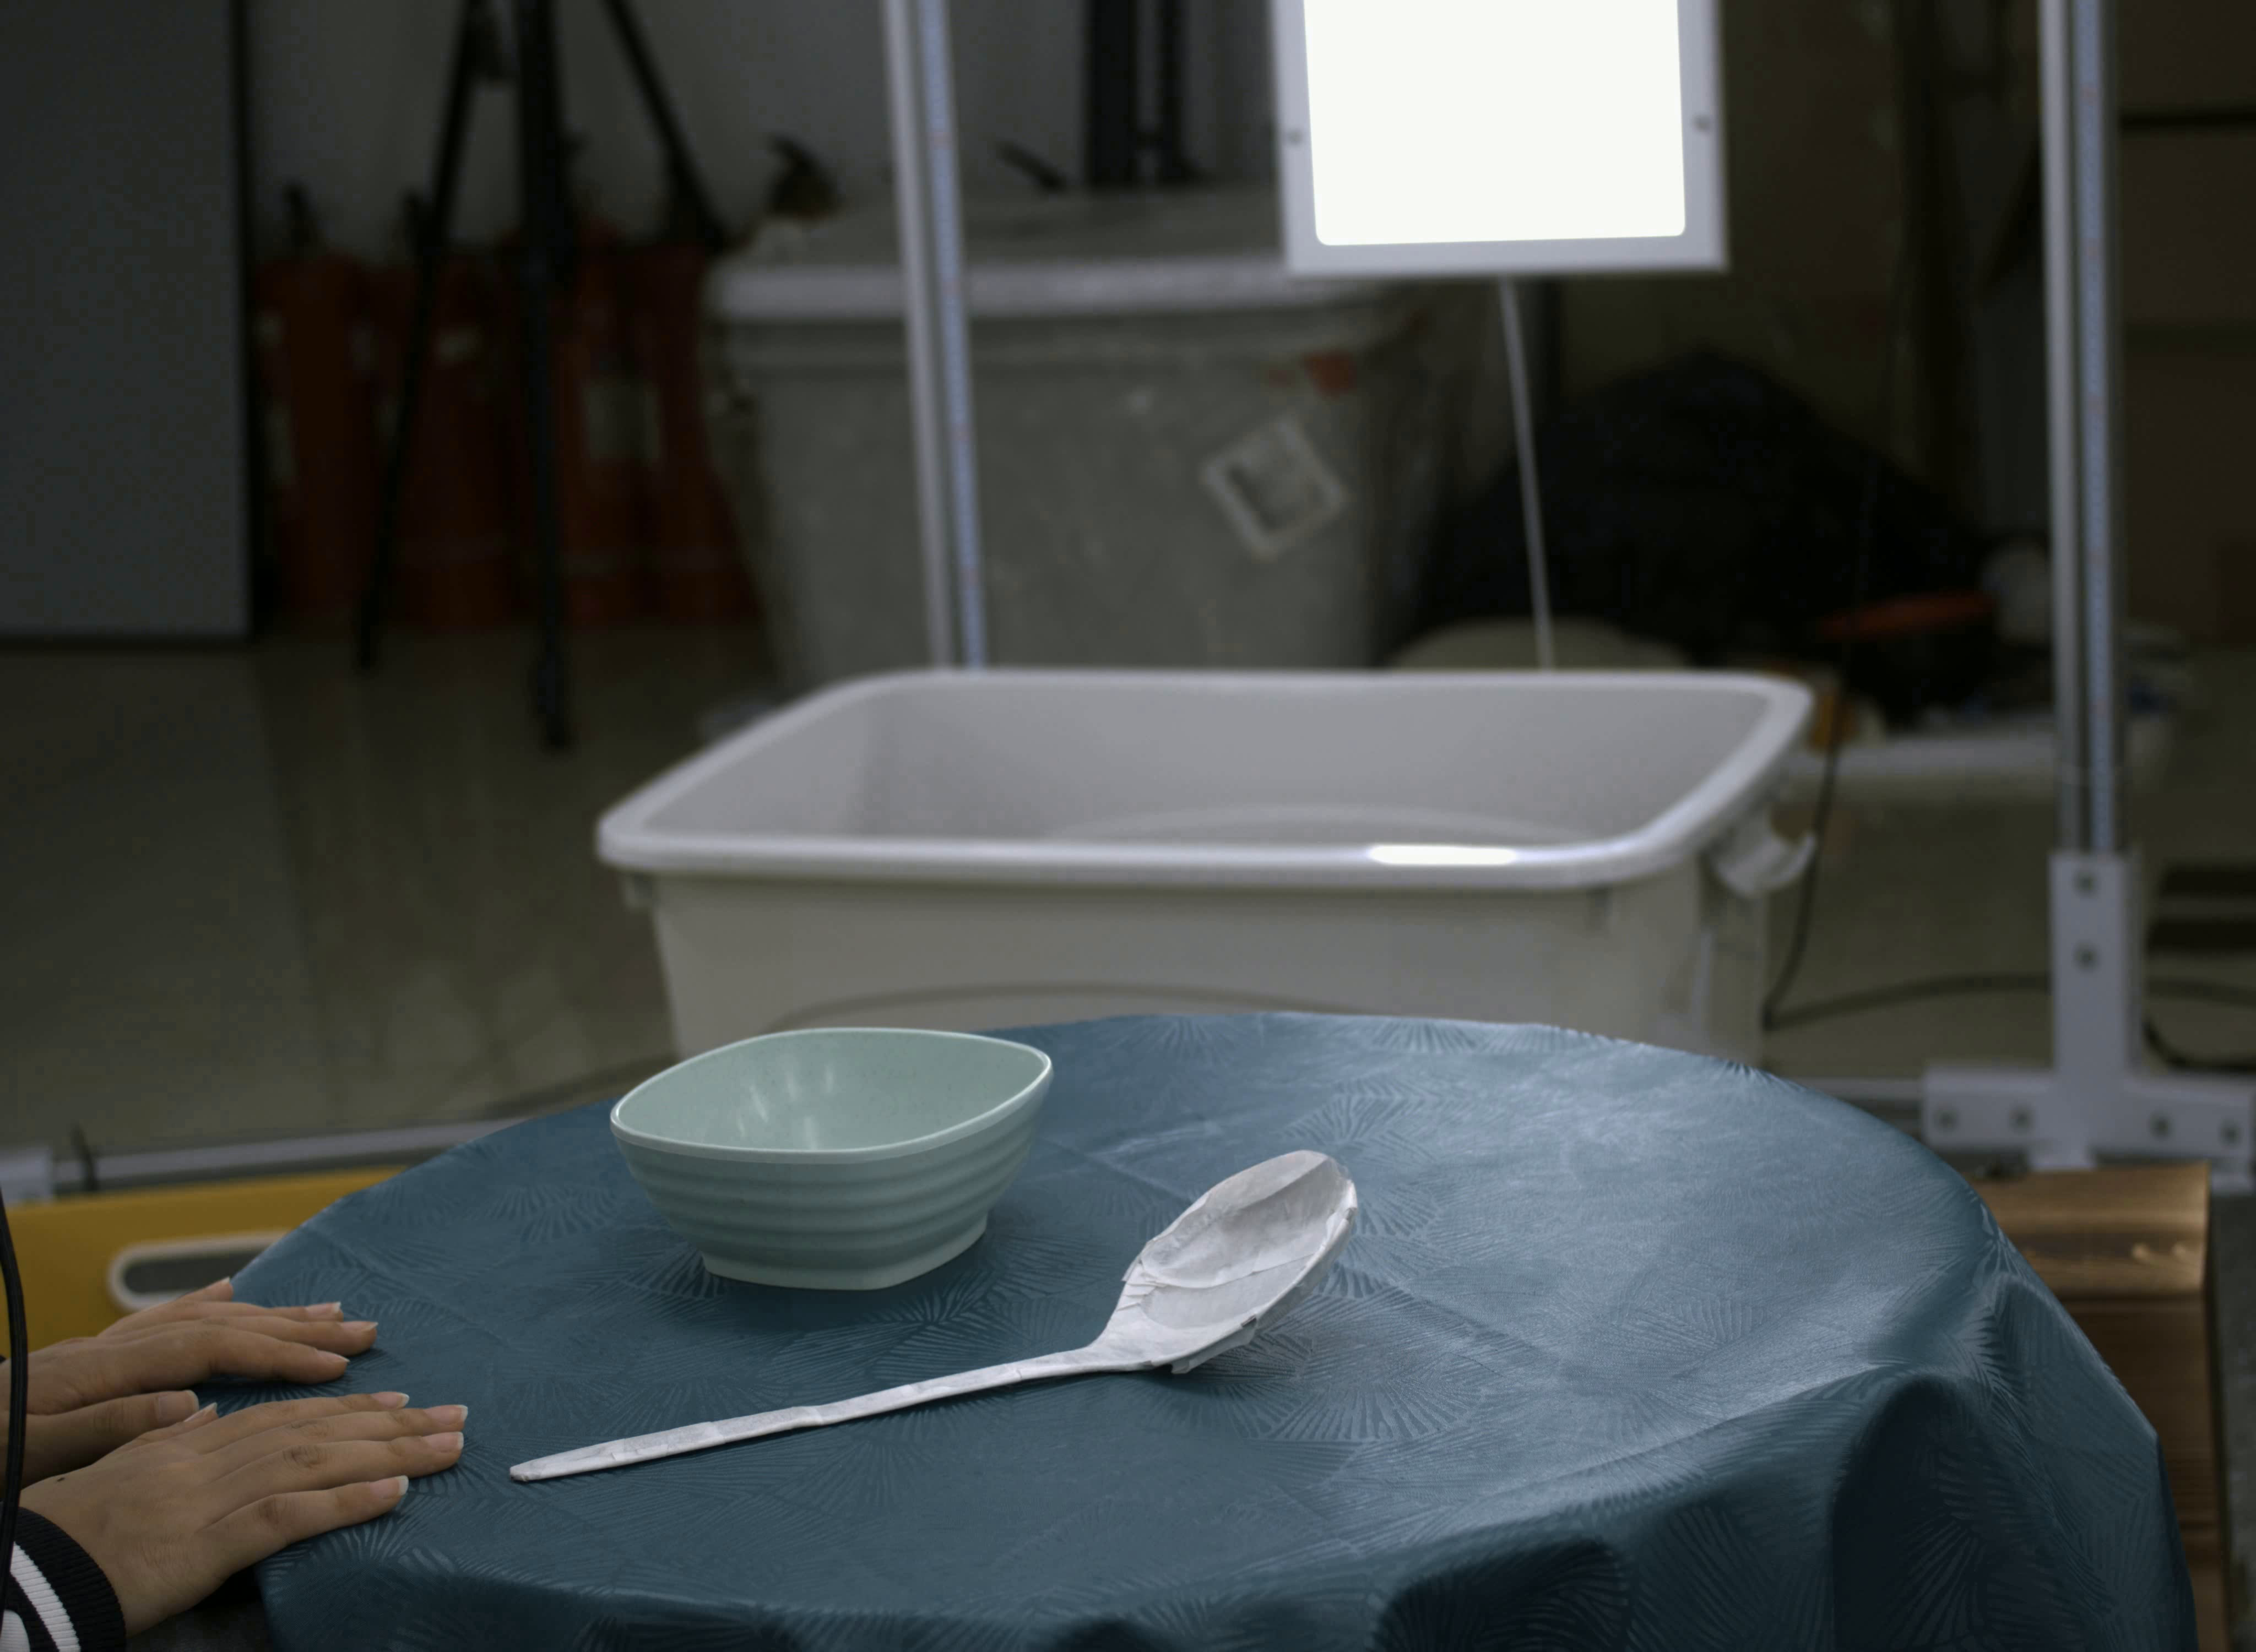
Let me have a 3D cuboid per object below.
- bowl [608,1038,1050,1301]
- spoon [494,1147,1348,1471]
[{"bbox_3d":[-0.098,0.119,1.858,0.151,0.059,0.151,-5,14,0],"label":"bowl"},{"bbox_3d":[-0.064,0.148,1.712,0.274,0.059,0.101,-8,10,-12],"label":"spoon"}]
